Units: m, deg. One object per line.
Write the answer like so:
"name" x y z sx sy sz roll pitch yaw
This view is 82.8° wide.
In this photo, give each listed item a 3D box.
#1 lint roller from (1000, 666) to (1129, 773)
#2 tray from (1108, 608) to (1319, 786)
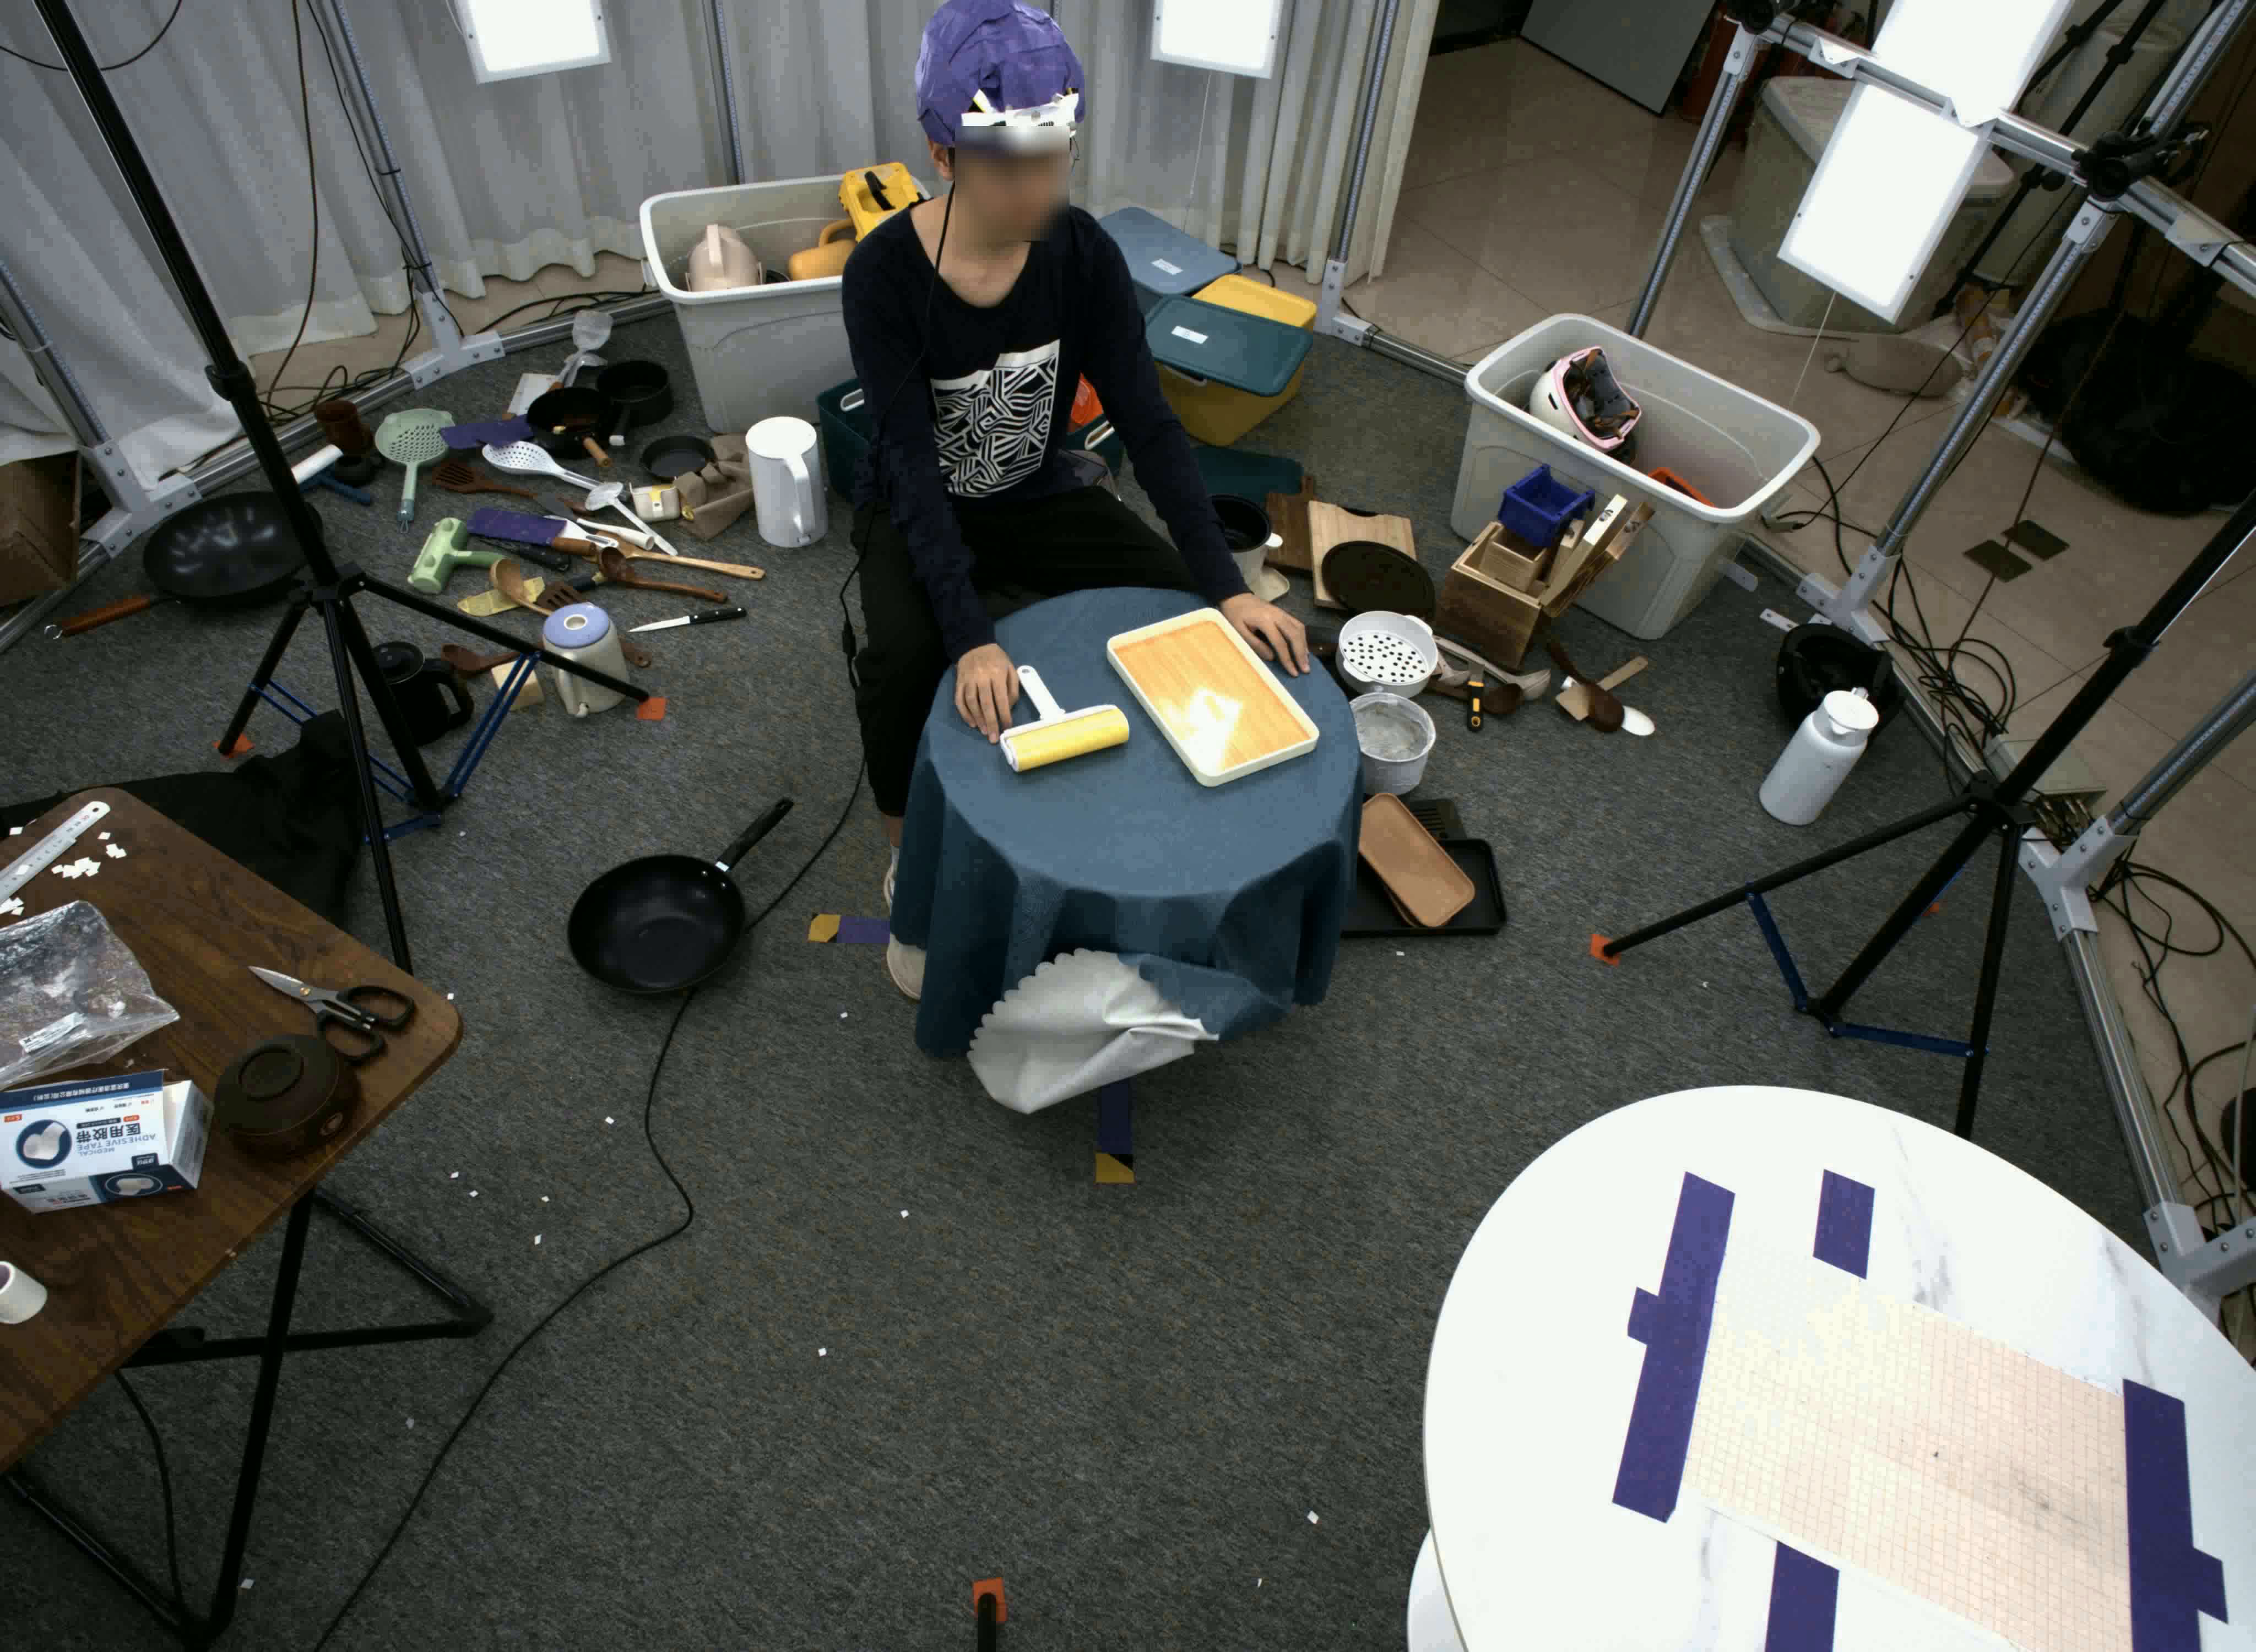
"lint roller" -0.112 -0.167 1.772 0.174 0.050 0.196 -17 55 -19
"tray" 0.117 -0.189 1.822 0.192 0.027 0.307 -19 53 -20
